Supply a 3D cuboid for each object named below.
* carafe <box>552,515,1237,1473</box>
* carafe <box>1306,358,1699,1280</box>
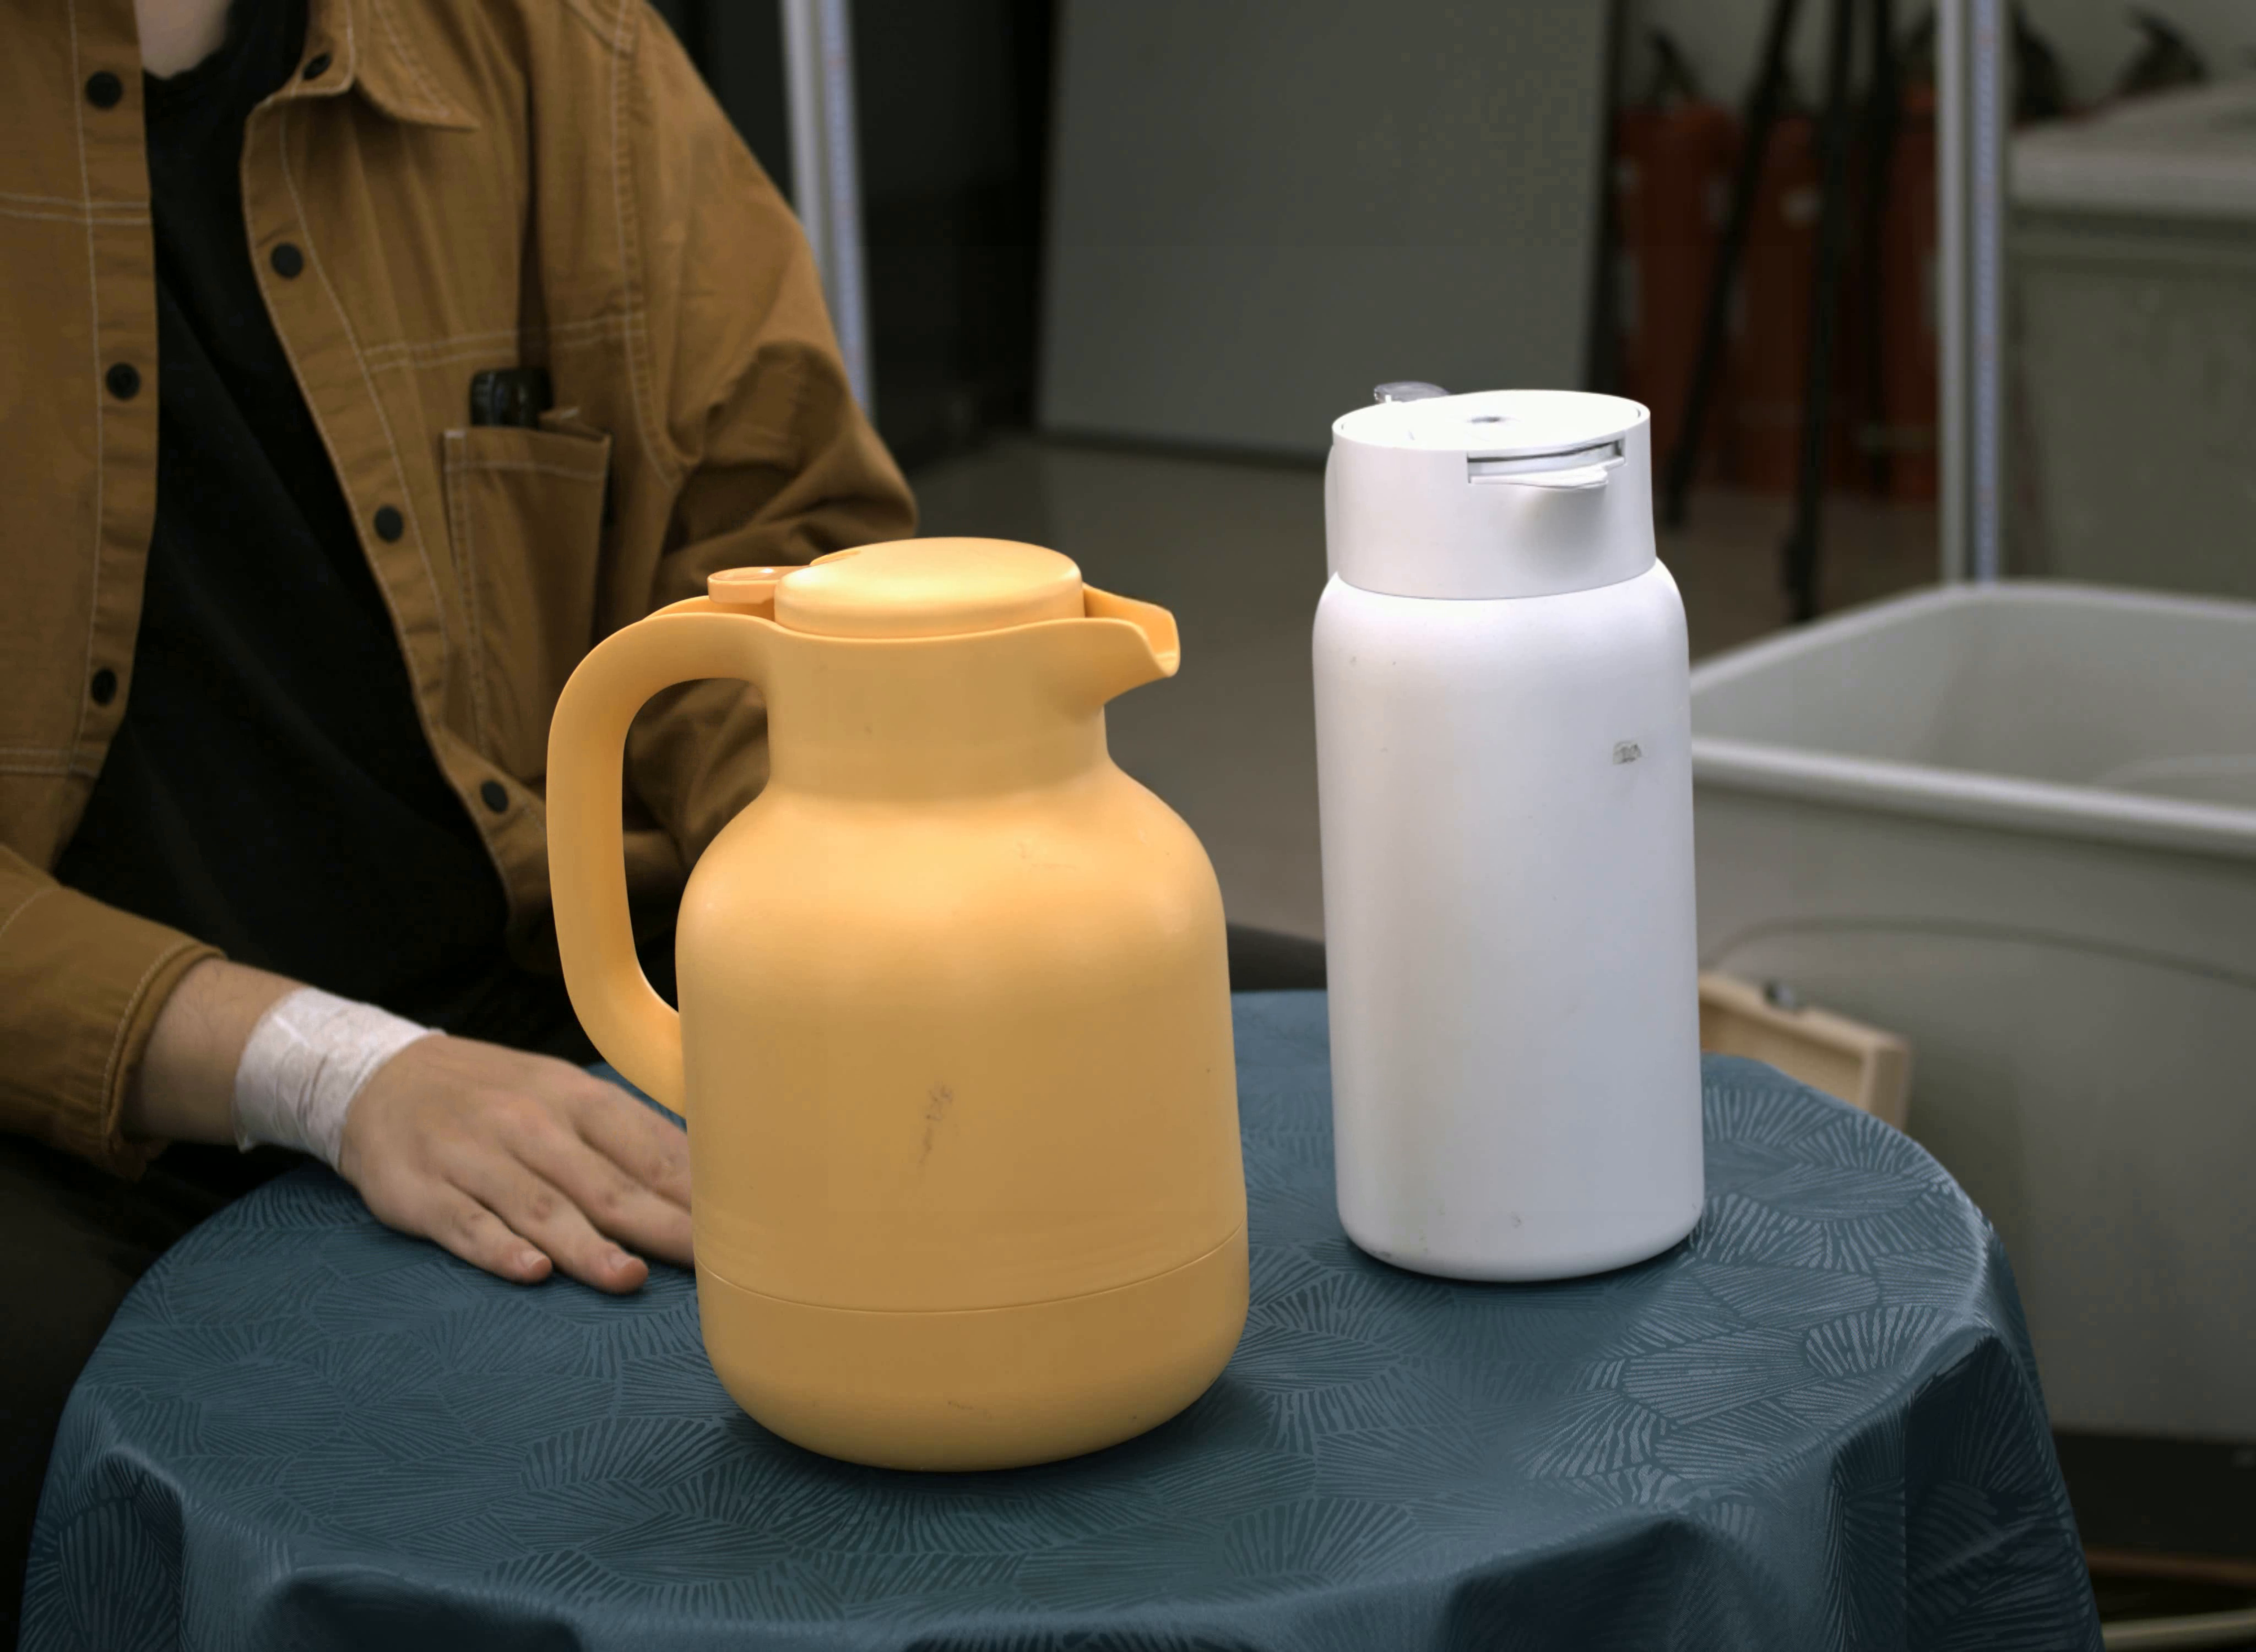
[{"bbox_3d":[-0.069,0.043,1.563,0.202,0.263,0.161,3,13,23],"label":"carafe"},{"bbox_3d":[0.109,-0.005,1.690,0.121,0.272,0.174,-11,15,-19],"label":"carafe"}]
